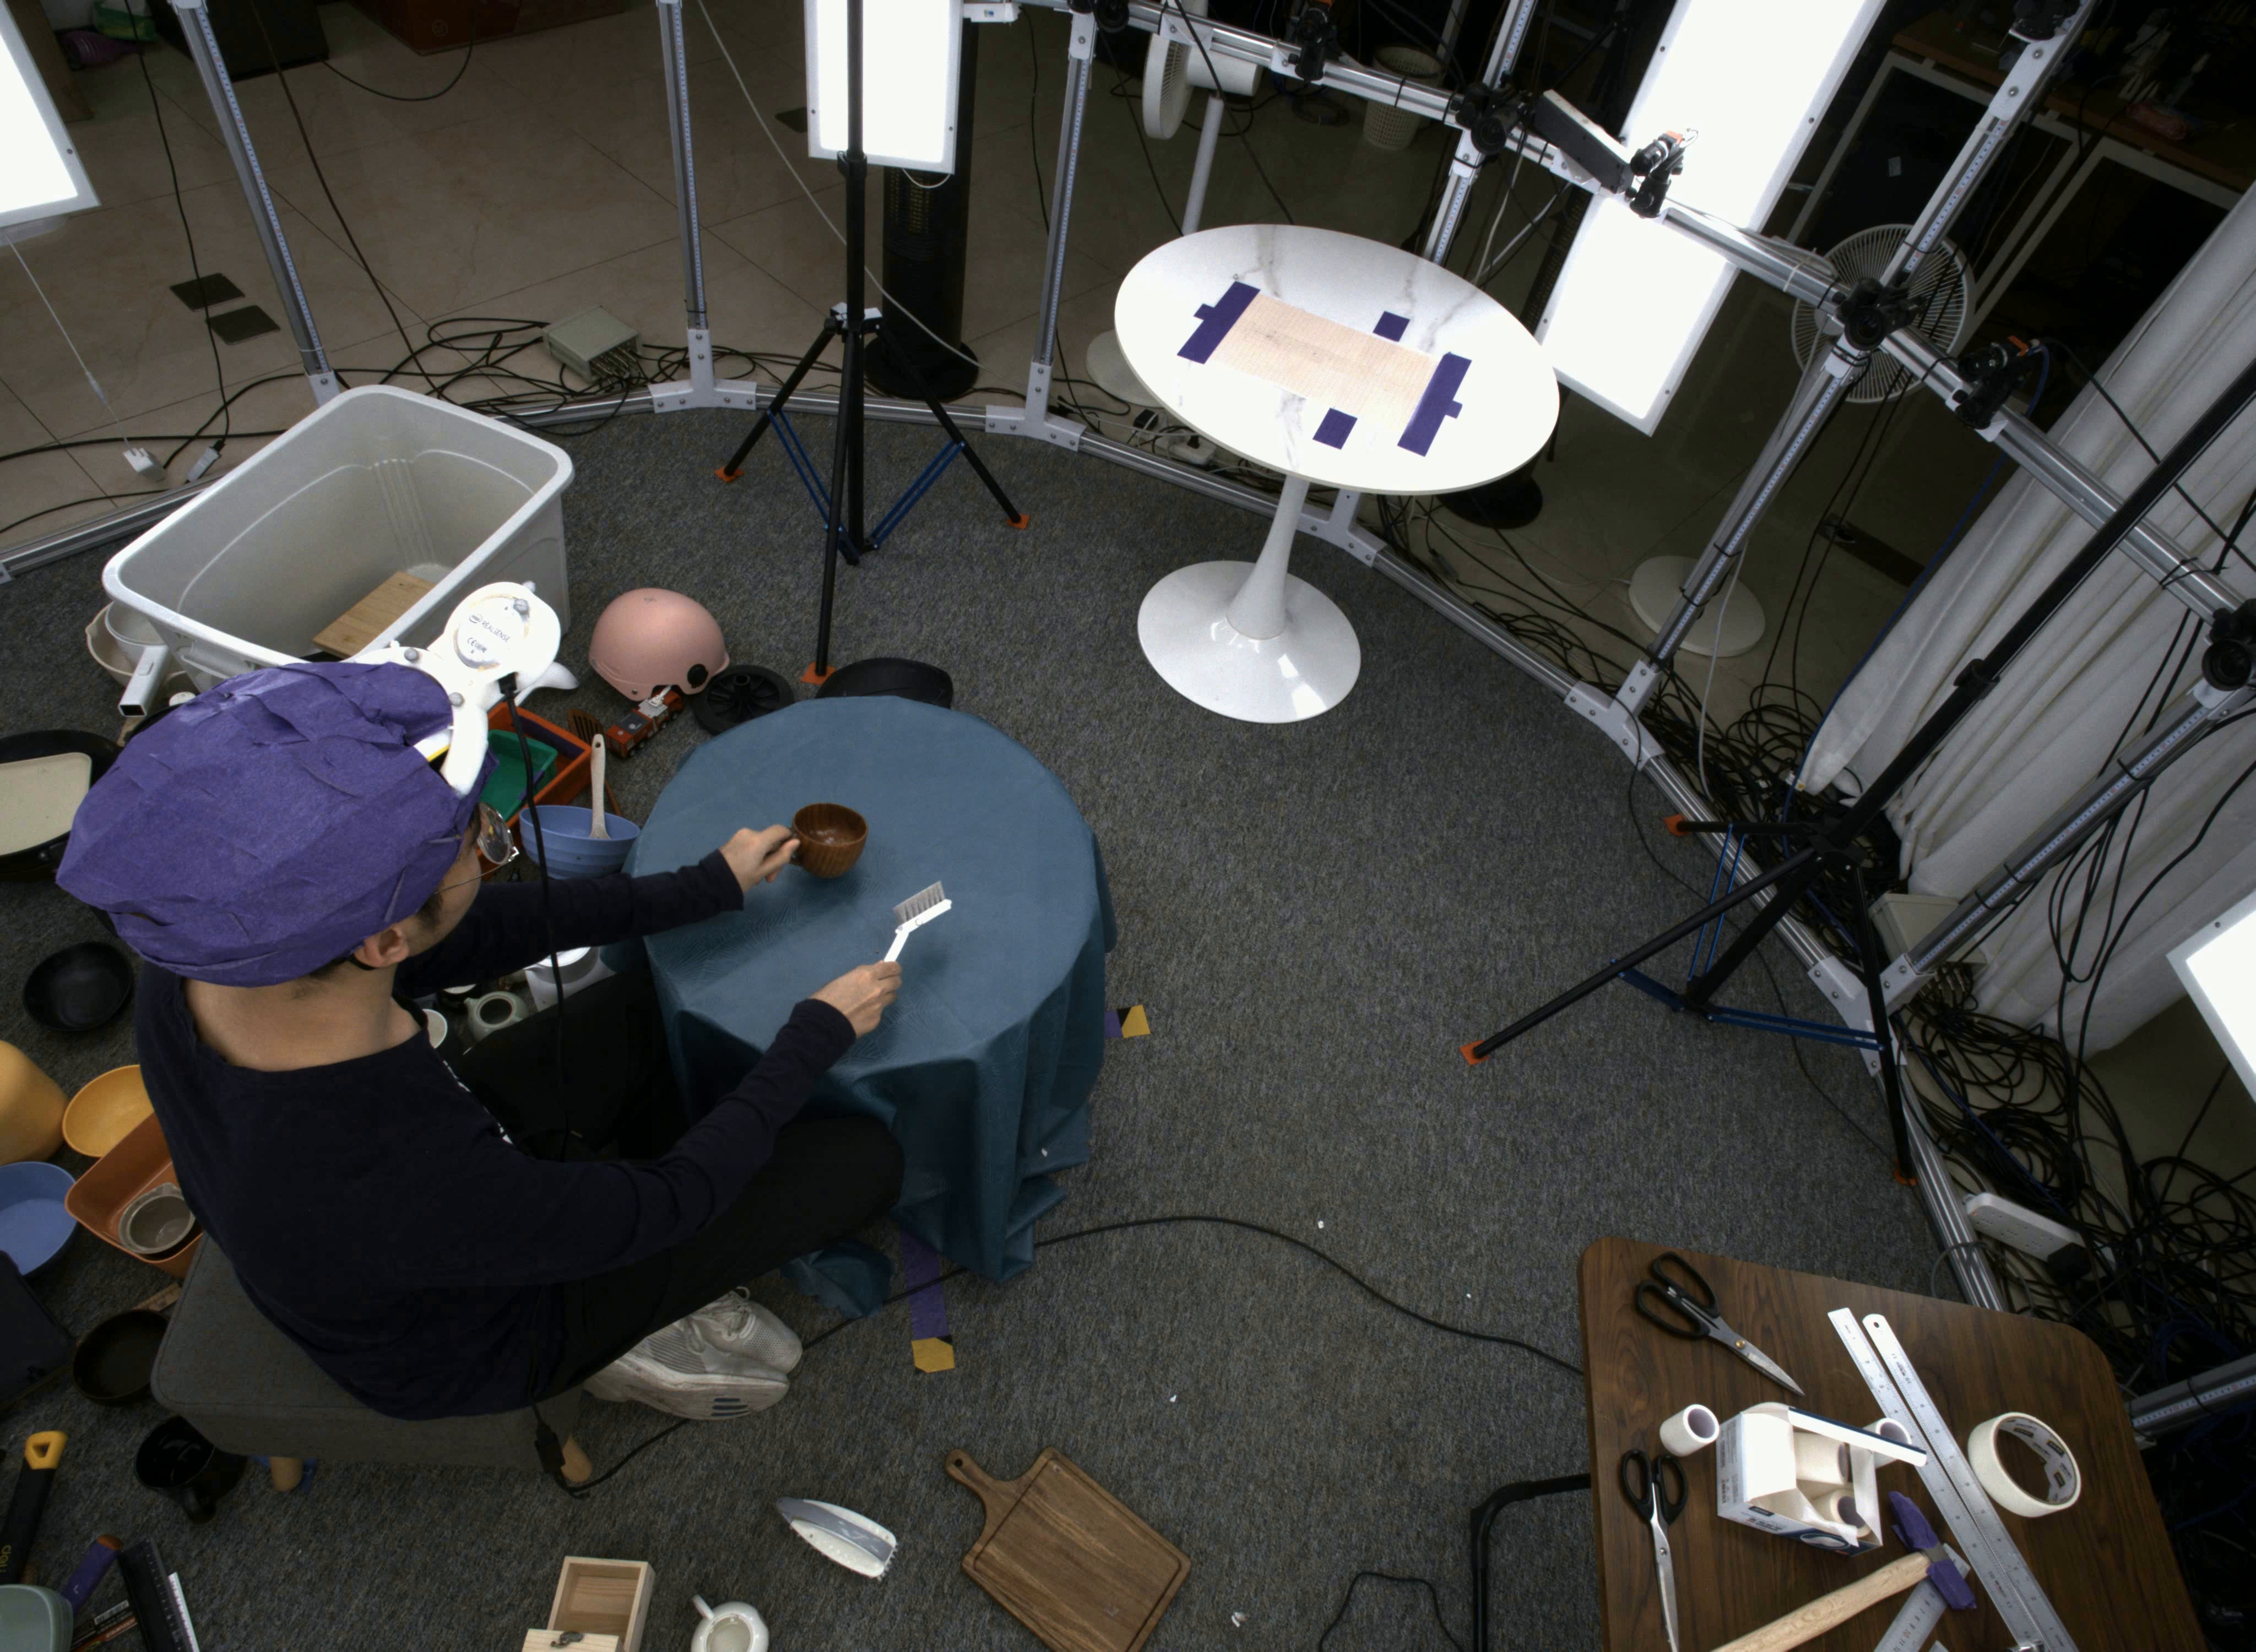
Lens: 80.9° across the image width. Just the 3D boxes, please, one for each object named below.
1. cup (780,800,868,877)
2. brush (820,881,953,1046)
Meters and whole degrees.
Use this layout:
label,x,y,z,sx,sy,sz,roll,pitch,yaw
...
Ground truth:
label,x,y,z,sx,sy,sz,roll,pitch,yaw
cup,-0.392,0.020,1.640,0.093,0.069,0.121,37,33,28
brush,-0.299,0.156,1.563,0.051,0.034,0.243,49,64,-16
